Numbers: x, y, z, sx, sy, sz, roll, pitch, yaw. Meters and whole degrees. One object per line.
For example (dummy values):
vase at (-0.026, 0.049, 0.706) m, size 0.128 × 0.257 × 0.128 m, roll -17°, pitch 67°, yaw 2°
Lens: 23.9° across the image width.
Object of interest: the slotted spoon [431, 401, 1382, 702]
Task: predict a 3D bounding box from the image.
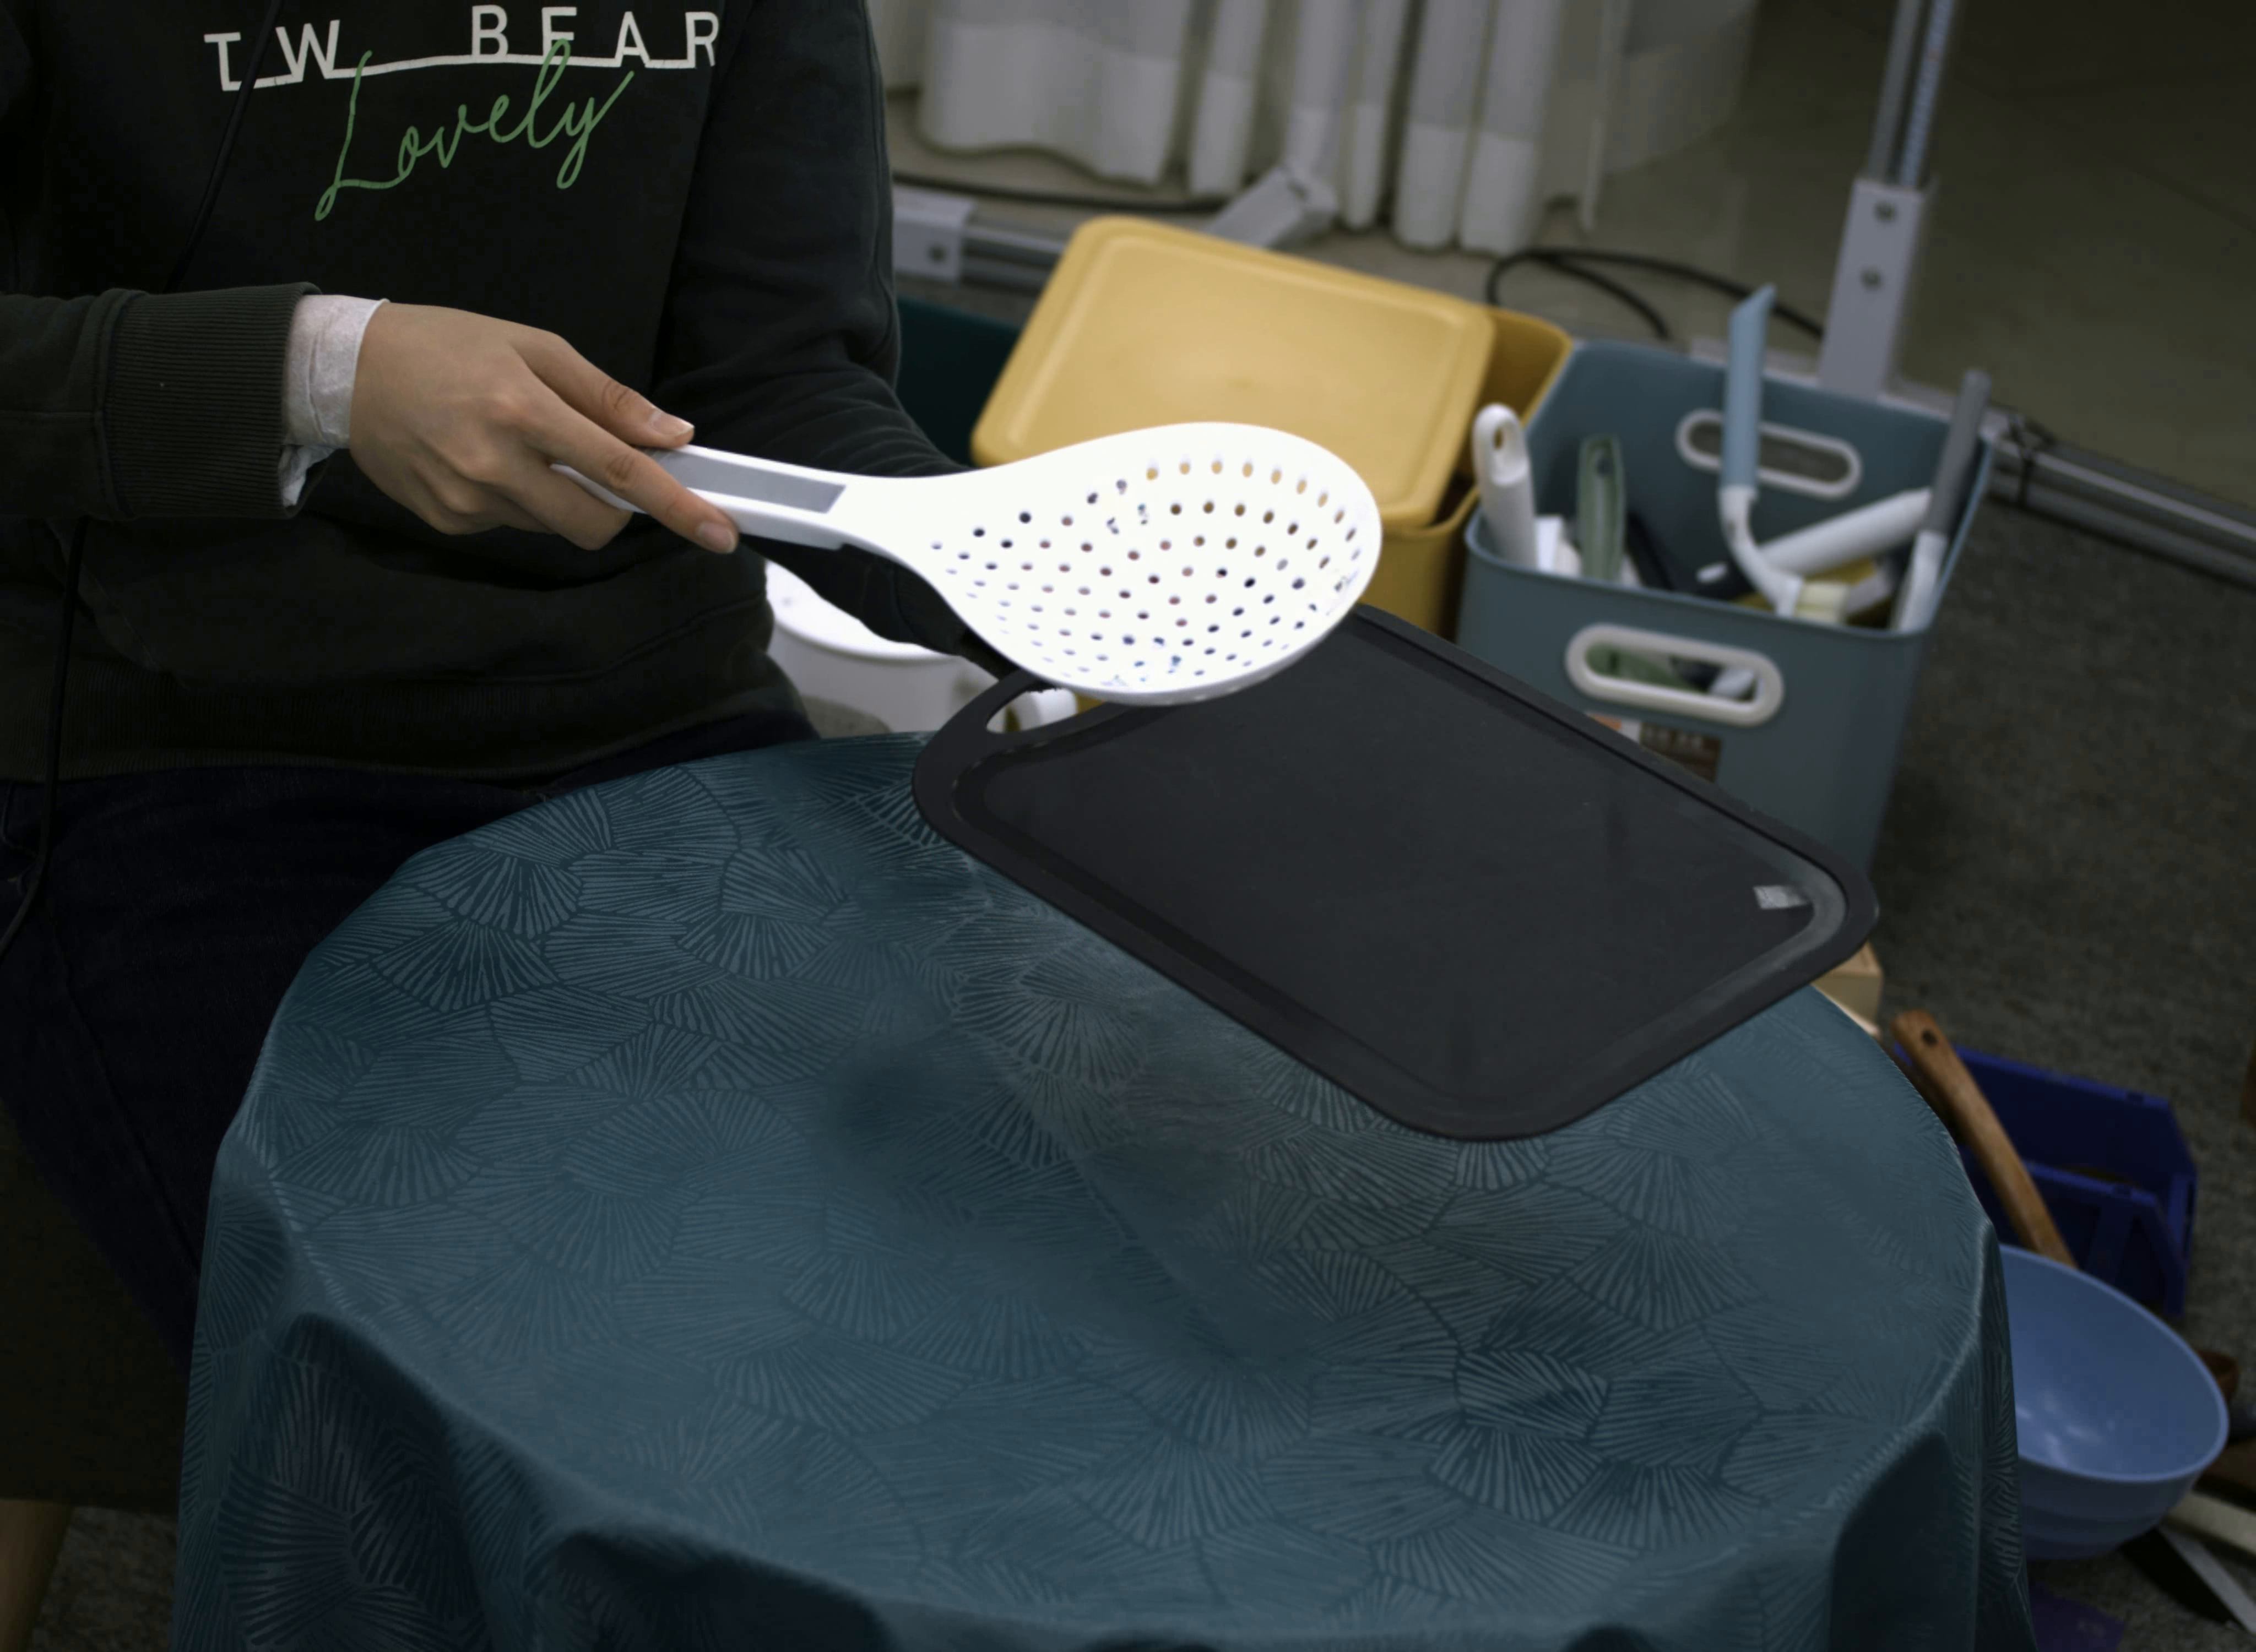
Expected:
slotted spoon at (-0.081, -0.103, 1.775) m, size 0.351 × 0.045 × 0.136 m, roll 15°, pitch 46°, yaw 21°

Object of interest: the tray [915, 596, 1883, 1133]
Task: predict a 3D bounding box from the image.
tray at (0.081, 0.002, 1.791) m, size 0.210 × 0.010 × 0.328 m, roll -27°, pitch 40°, yaw -32°
